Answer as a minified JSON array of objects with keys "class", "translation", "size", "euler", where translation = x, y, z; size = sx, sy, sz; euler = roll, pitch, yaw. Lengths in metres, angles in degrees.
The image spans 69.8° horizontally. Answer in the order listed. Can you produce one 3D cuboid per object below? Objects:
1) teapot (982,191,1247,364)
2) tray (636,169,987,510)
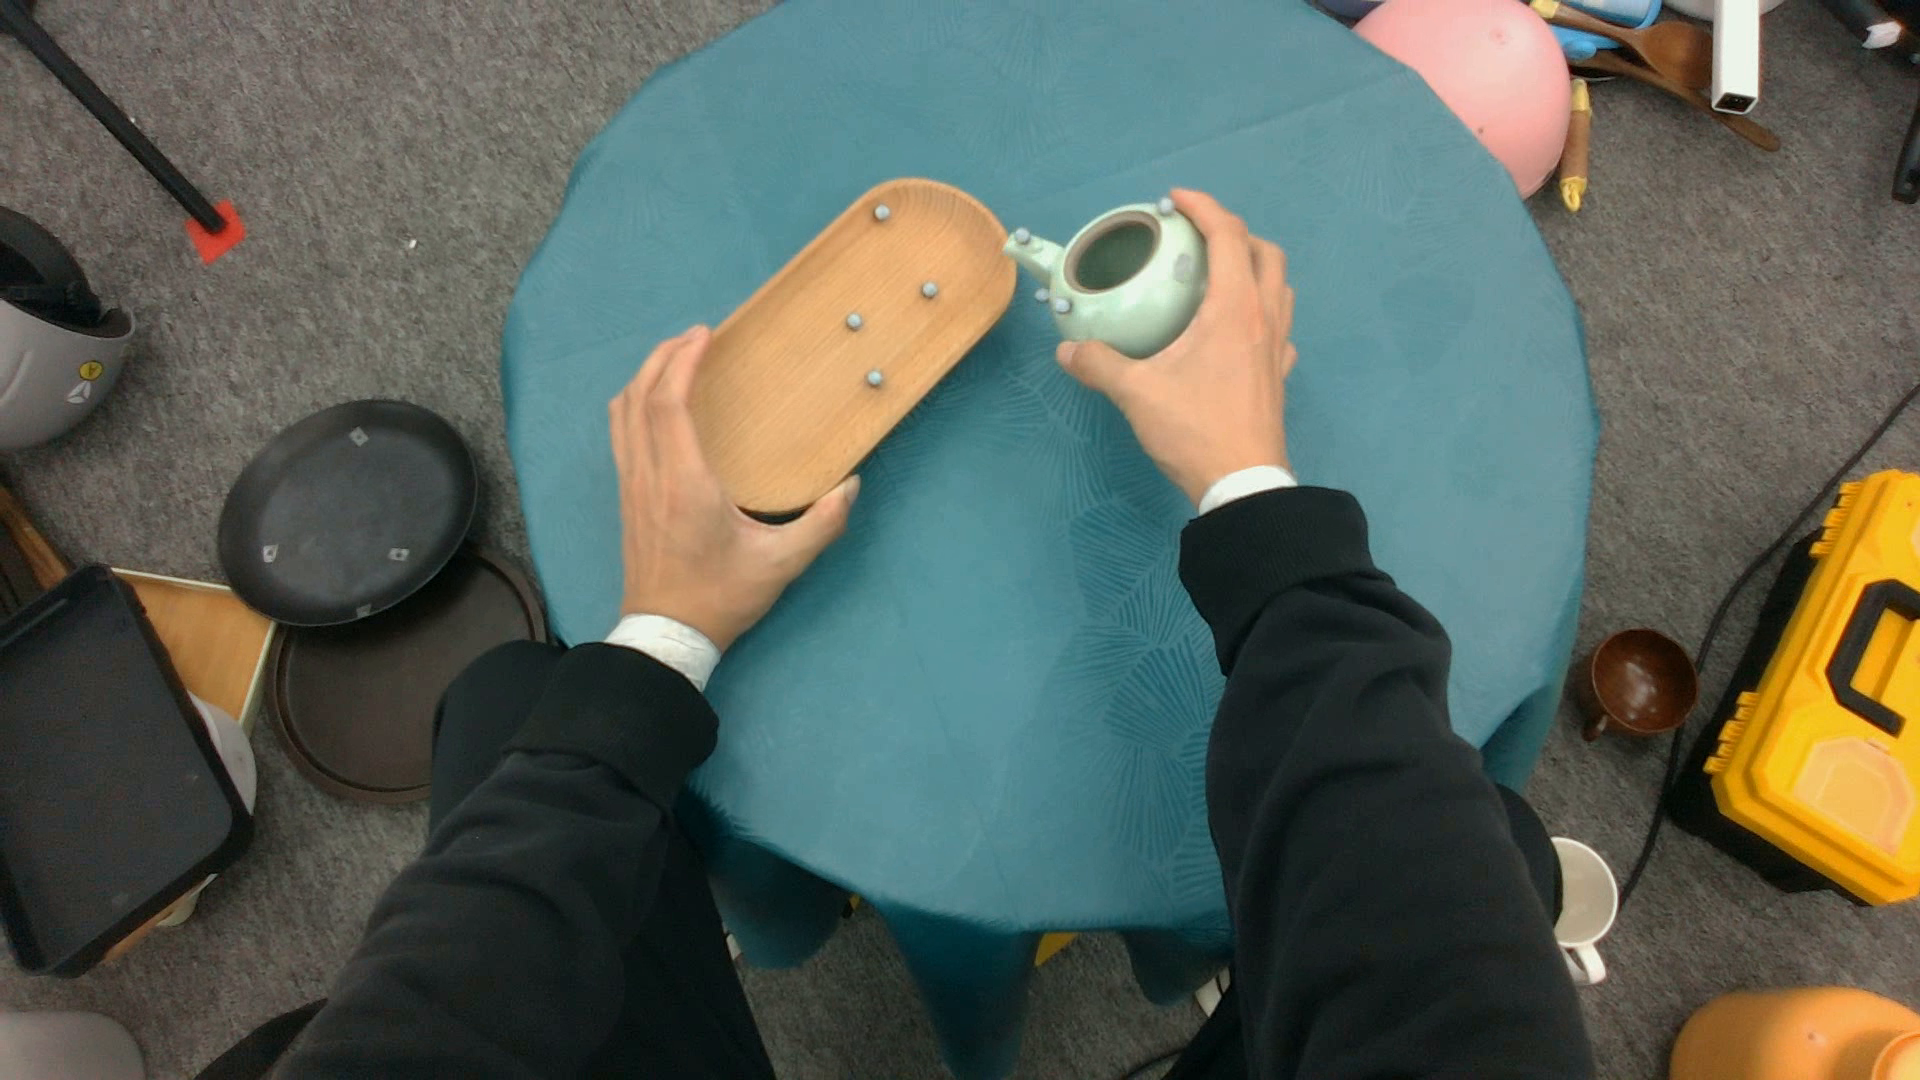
[{"class":"teapot","translation":[0.080,-0.133,0.694],"size":[0.143,0.074,0.088],"euler":[20,69,35]},{"class":"tray","translation":[-0.074,-0.109,0.725],"size":[0.101,0.020,0.232],"euler":[39,68,3]}]
